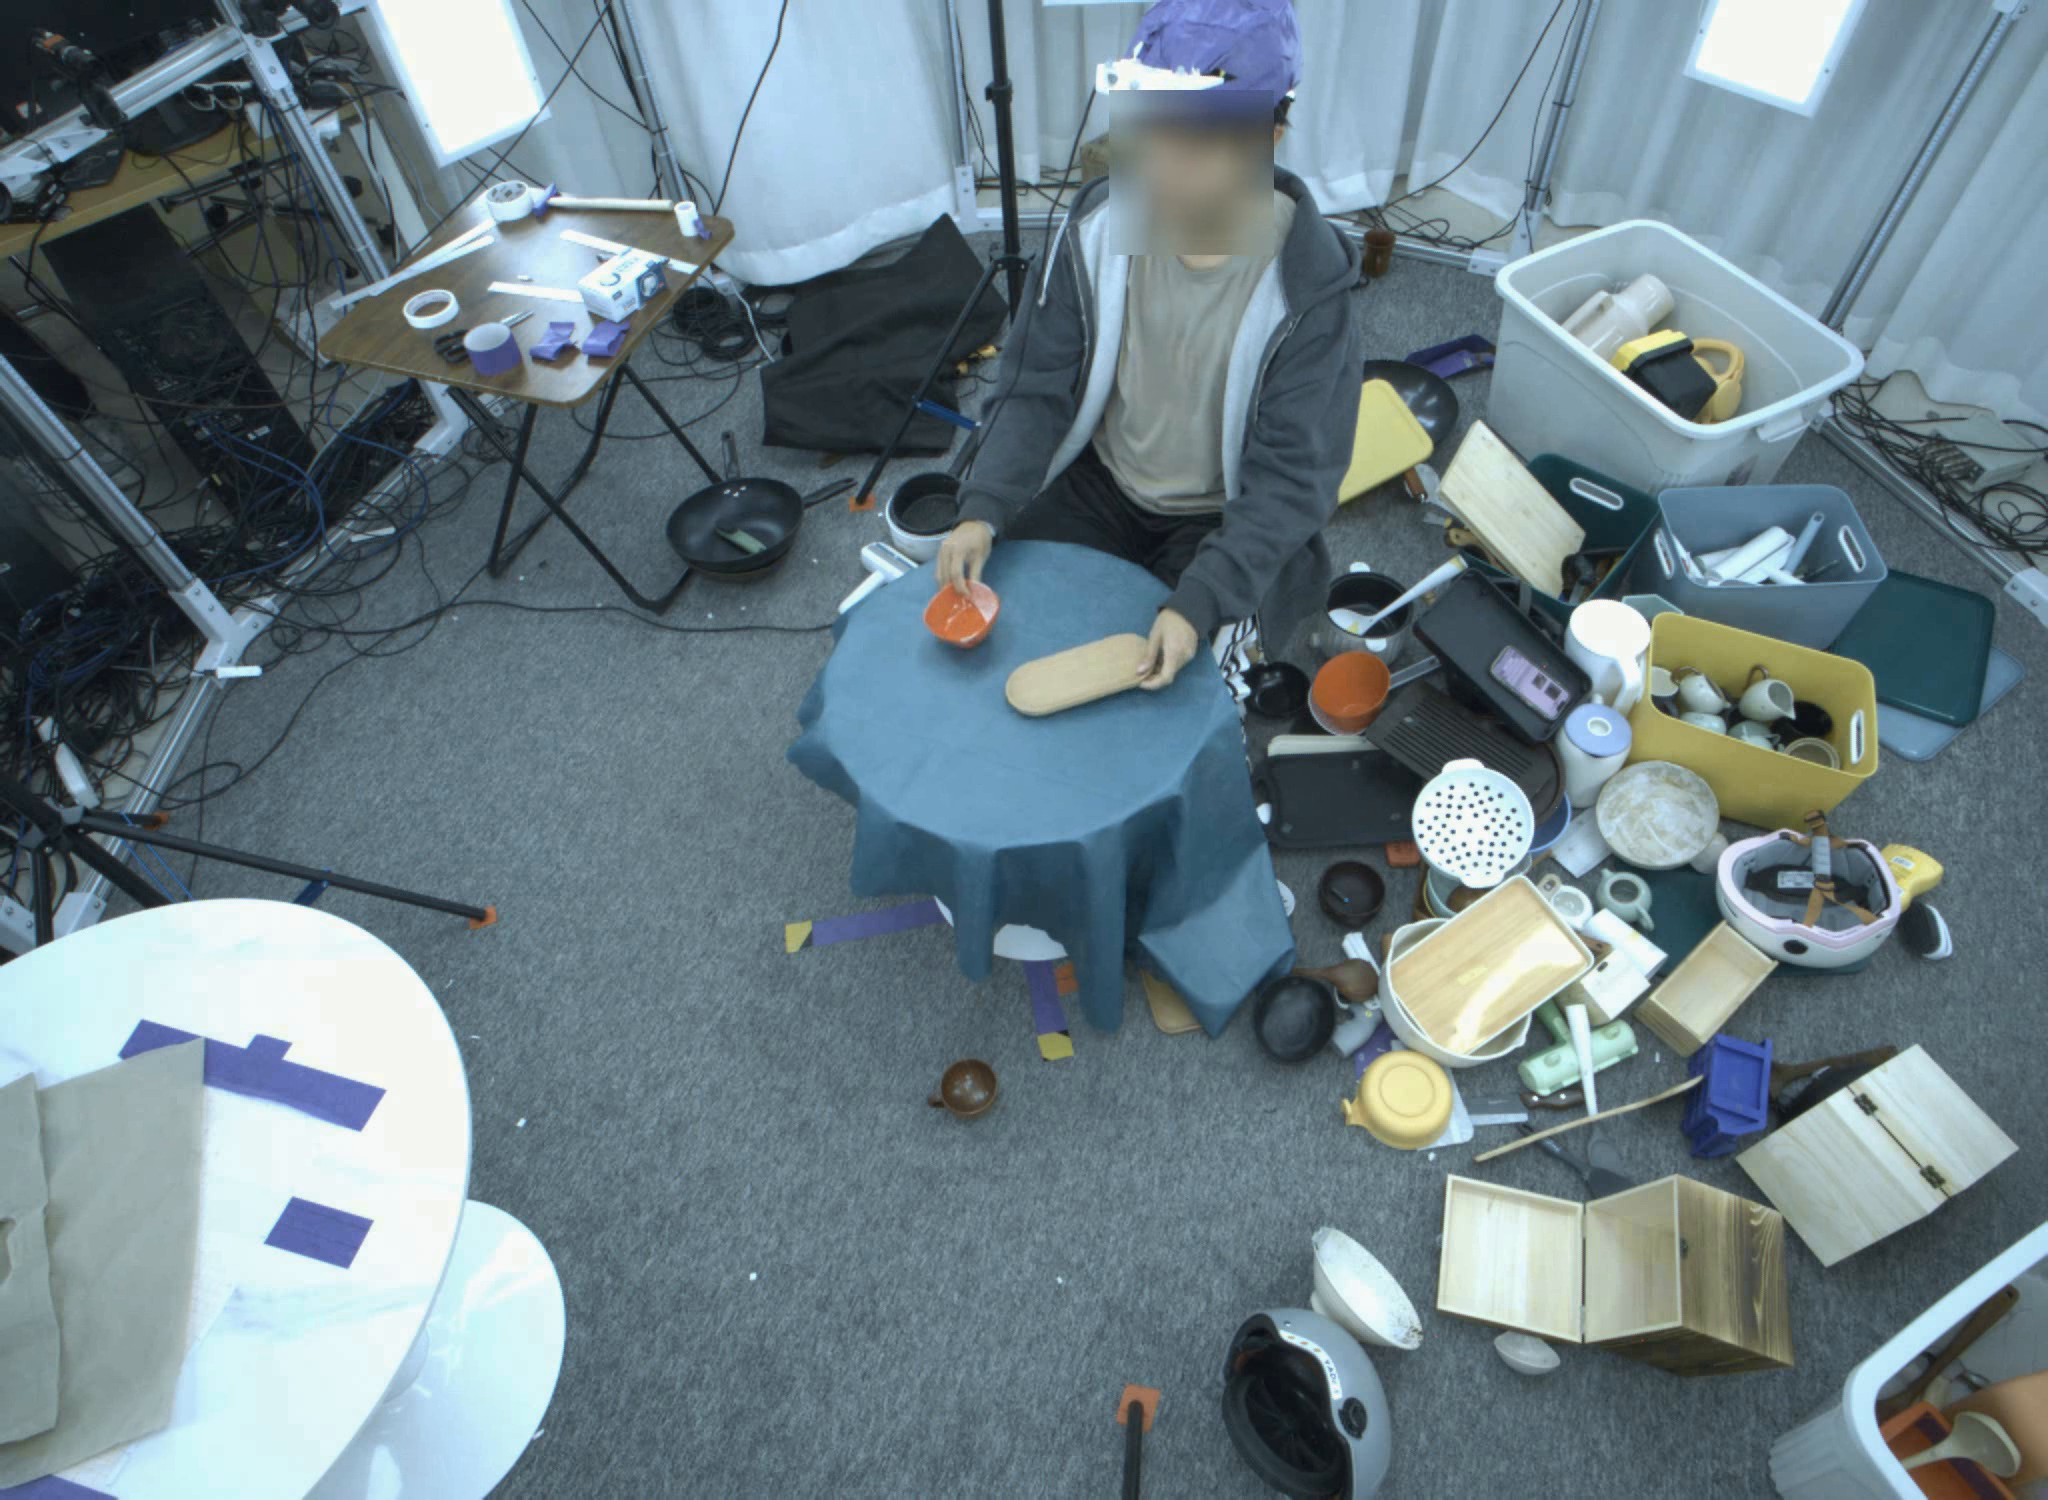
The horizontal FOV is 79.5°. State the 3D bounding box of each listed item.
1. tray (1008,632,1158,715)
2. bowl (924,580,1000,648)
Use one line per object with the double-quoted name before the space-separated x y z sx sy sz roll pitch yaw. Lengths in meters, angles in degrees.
"tray" 0.088 -0.114 1.842 0.232 0.020 0.100 -17 54 -3
"bowl" -0.090 -0.201 1.886 0.118 0.052 0.118 -6 59 11
